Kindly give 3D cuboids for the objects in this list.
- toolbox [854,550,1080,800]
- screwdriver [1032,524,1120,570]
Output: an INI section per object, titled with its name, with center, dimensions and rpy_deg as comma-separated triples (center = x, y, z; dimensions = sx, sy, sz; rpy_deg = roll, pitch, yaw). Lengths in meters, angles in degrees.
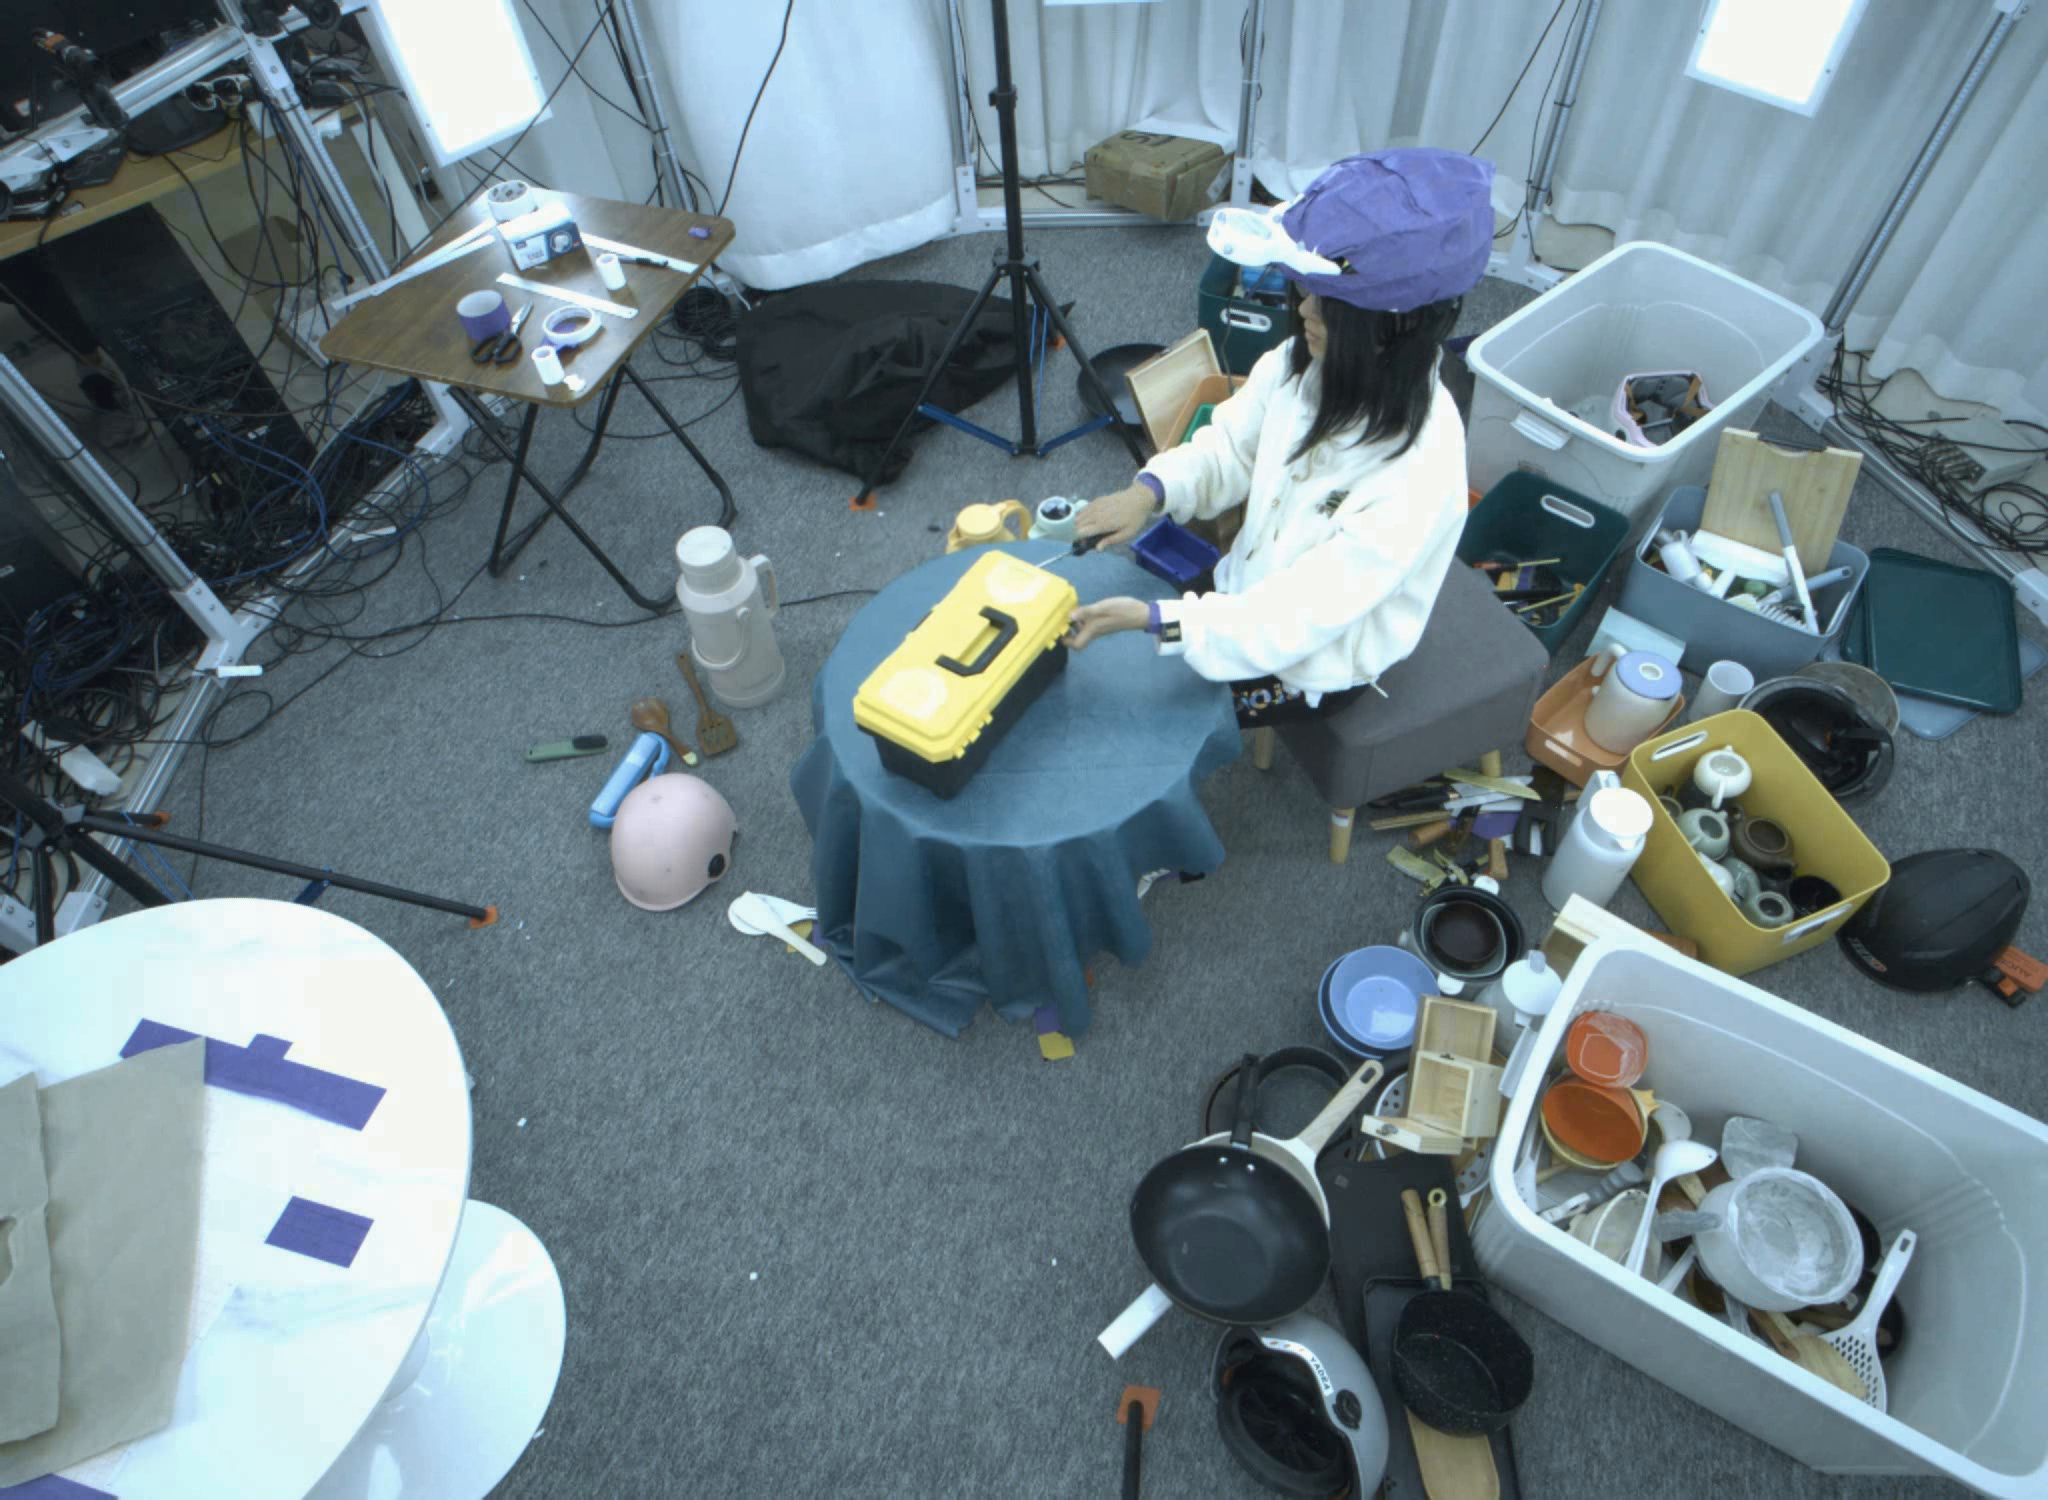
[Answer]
[toolbox]
center = -0.075, -0.108, 1.760
dimensions = 0.178, 0.175, 0.353
rpy_deg = 28, 60, 21
[screwdriver]
center = 0.076, -0.306, 1.844
dimensions = 0.031, 0.031, 0.199
rpy_deg = 38, 44, 26
